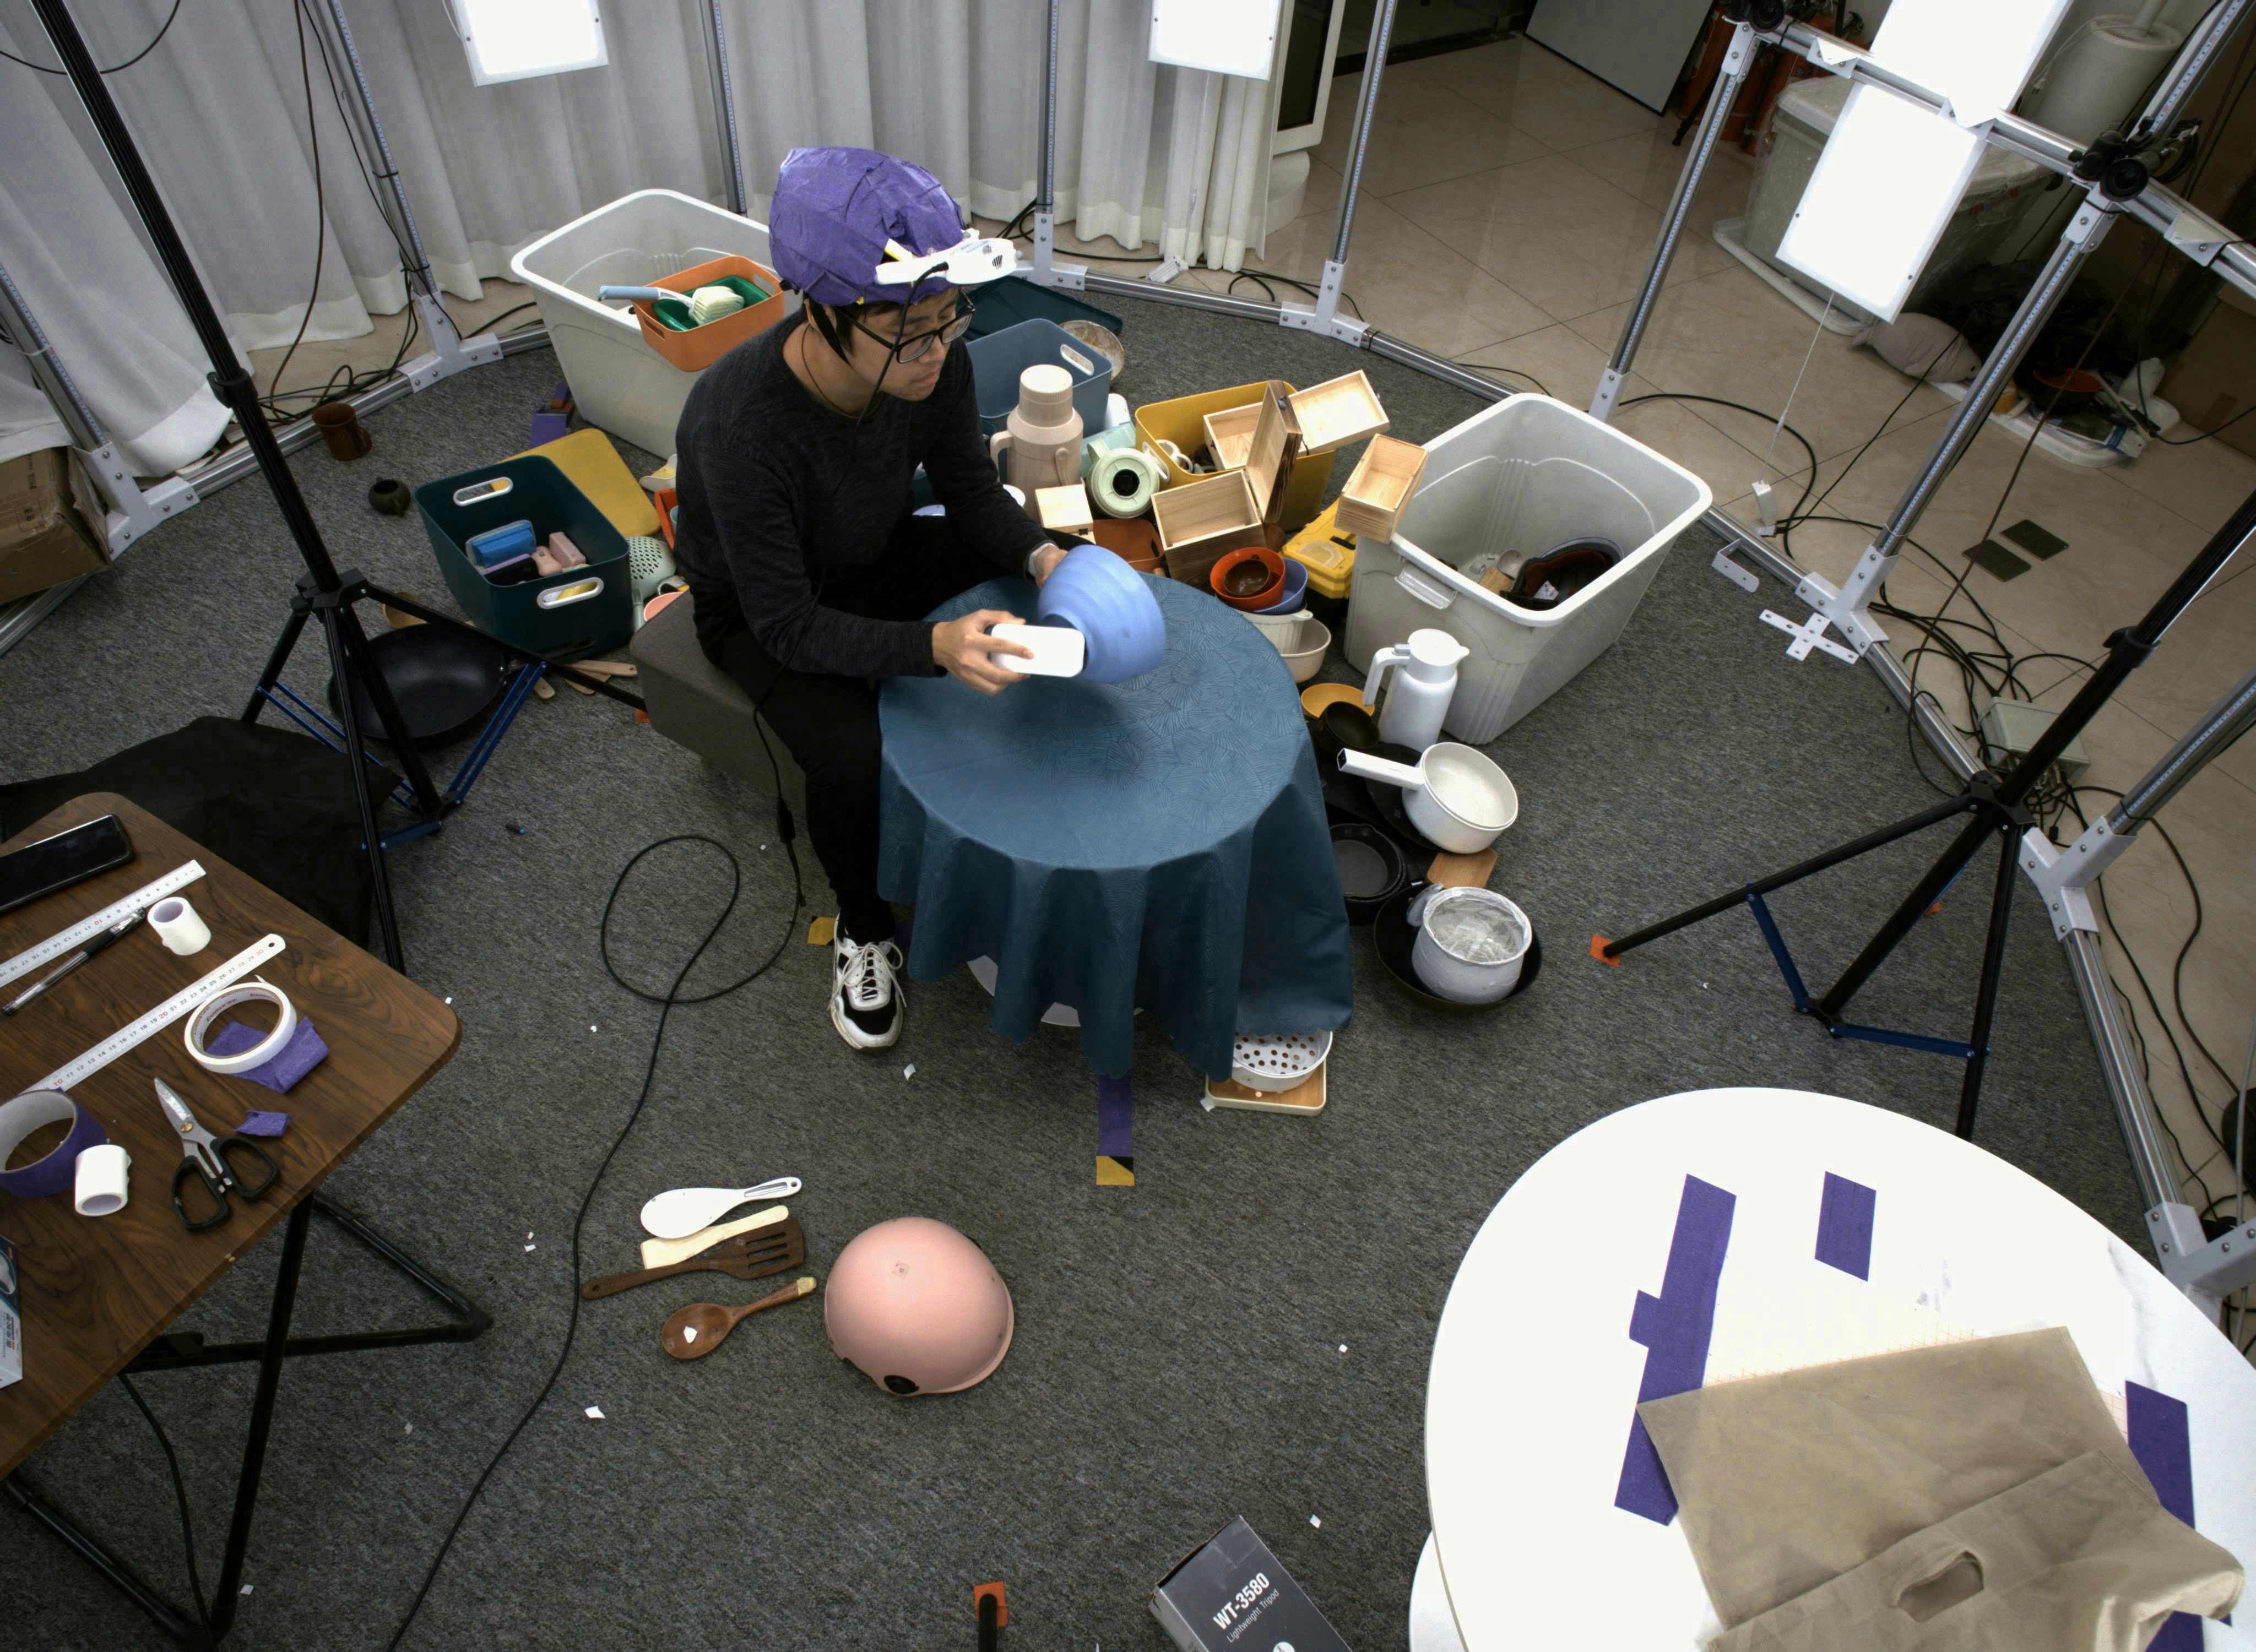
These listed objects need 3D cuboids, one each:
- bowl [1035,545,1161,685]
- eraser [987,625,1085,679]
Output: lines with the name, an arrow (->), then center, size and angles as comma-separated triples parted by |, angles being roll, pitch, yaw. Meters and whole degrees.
bowl -> -0.058, -0.266, 1.720 | 0.199, 0.192, 0.096 | 39, 57, 25
eraser -> -0.121, -0.227, 1.669 | 0.132, 0.063, 0.034 | 8, 6, 22
